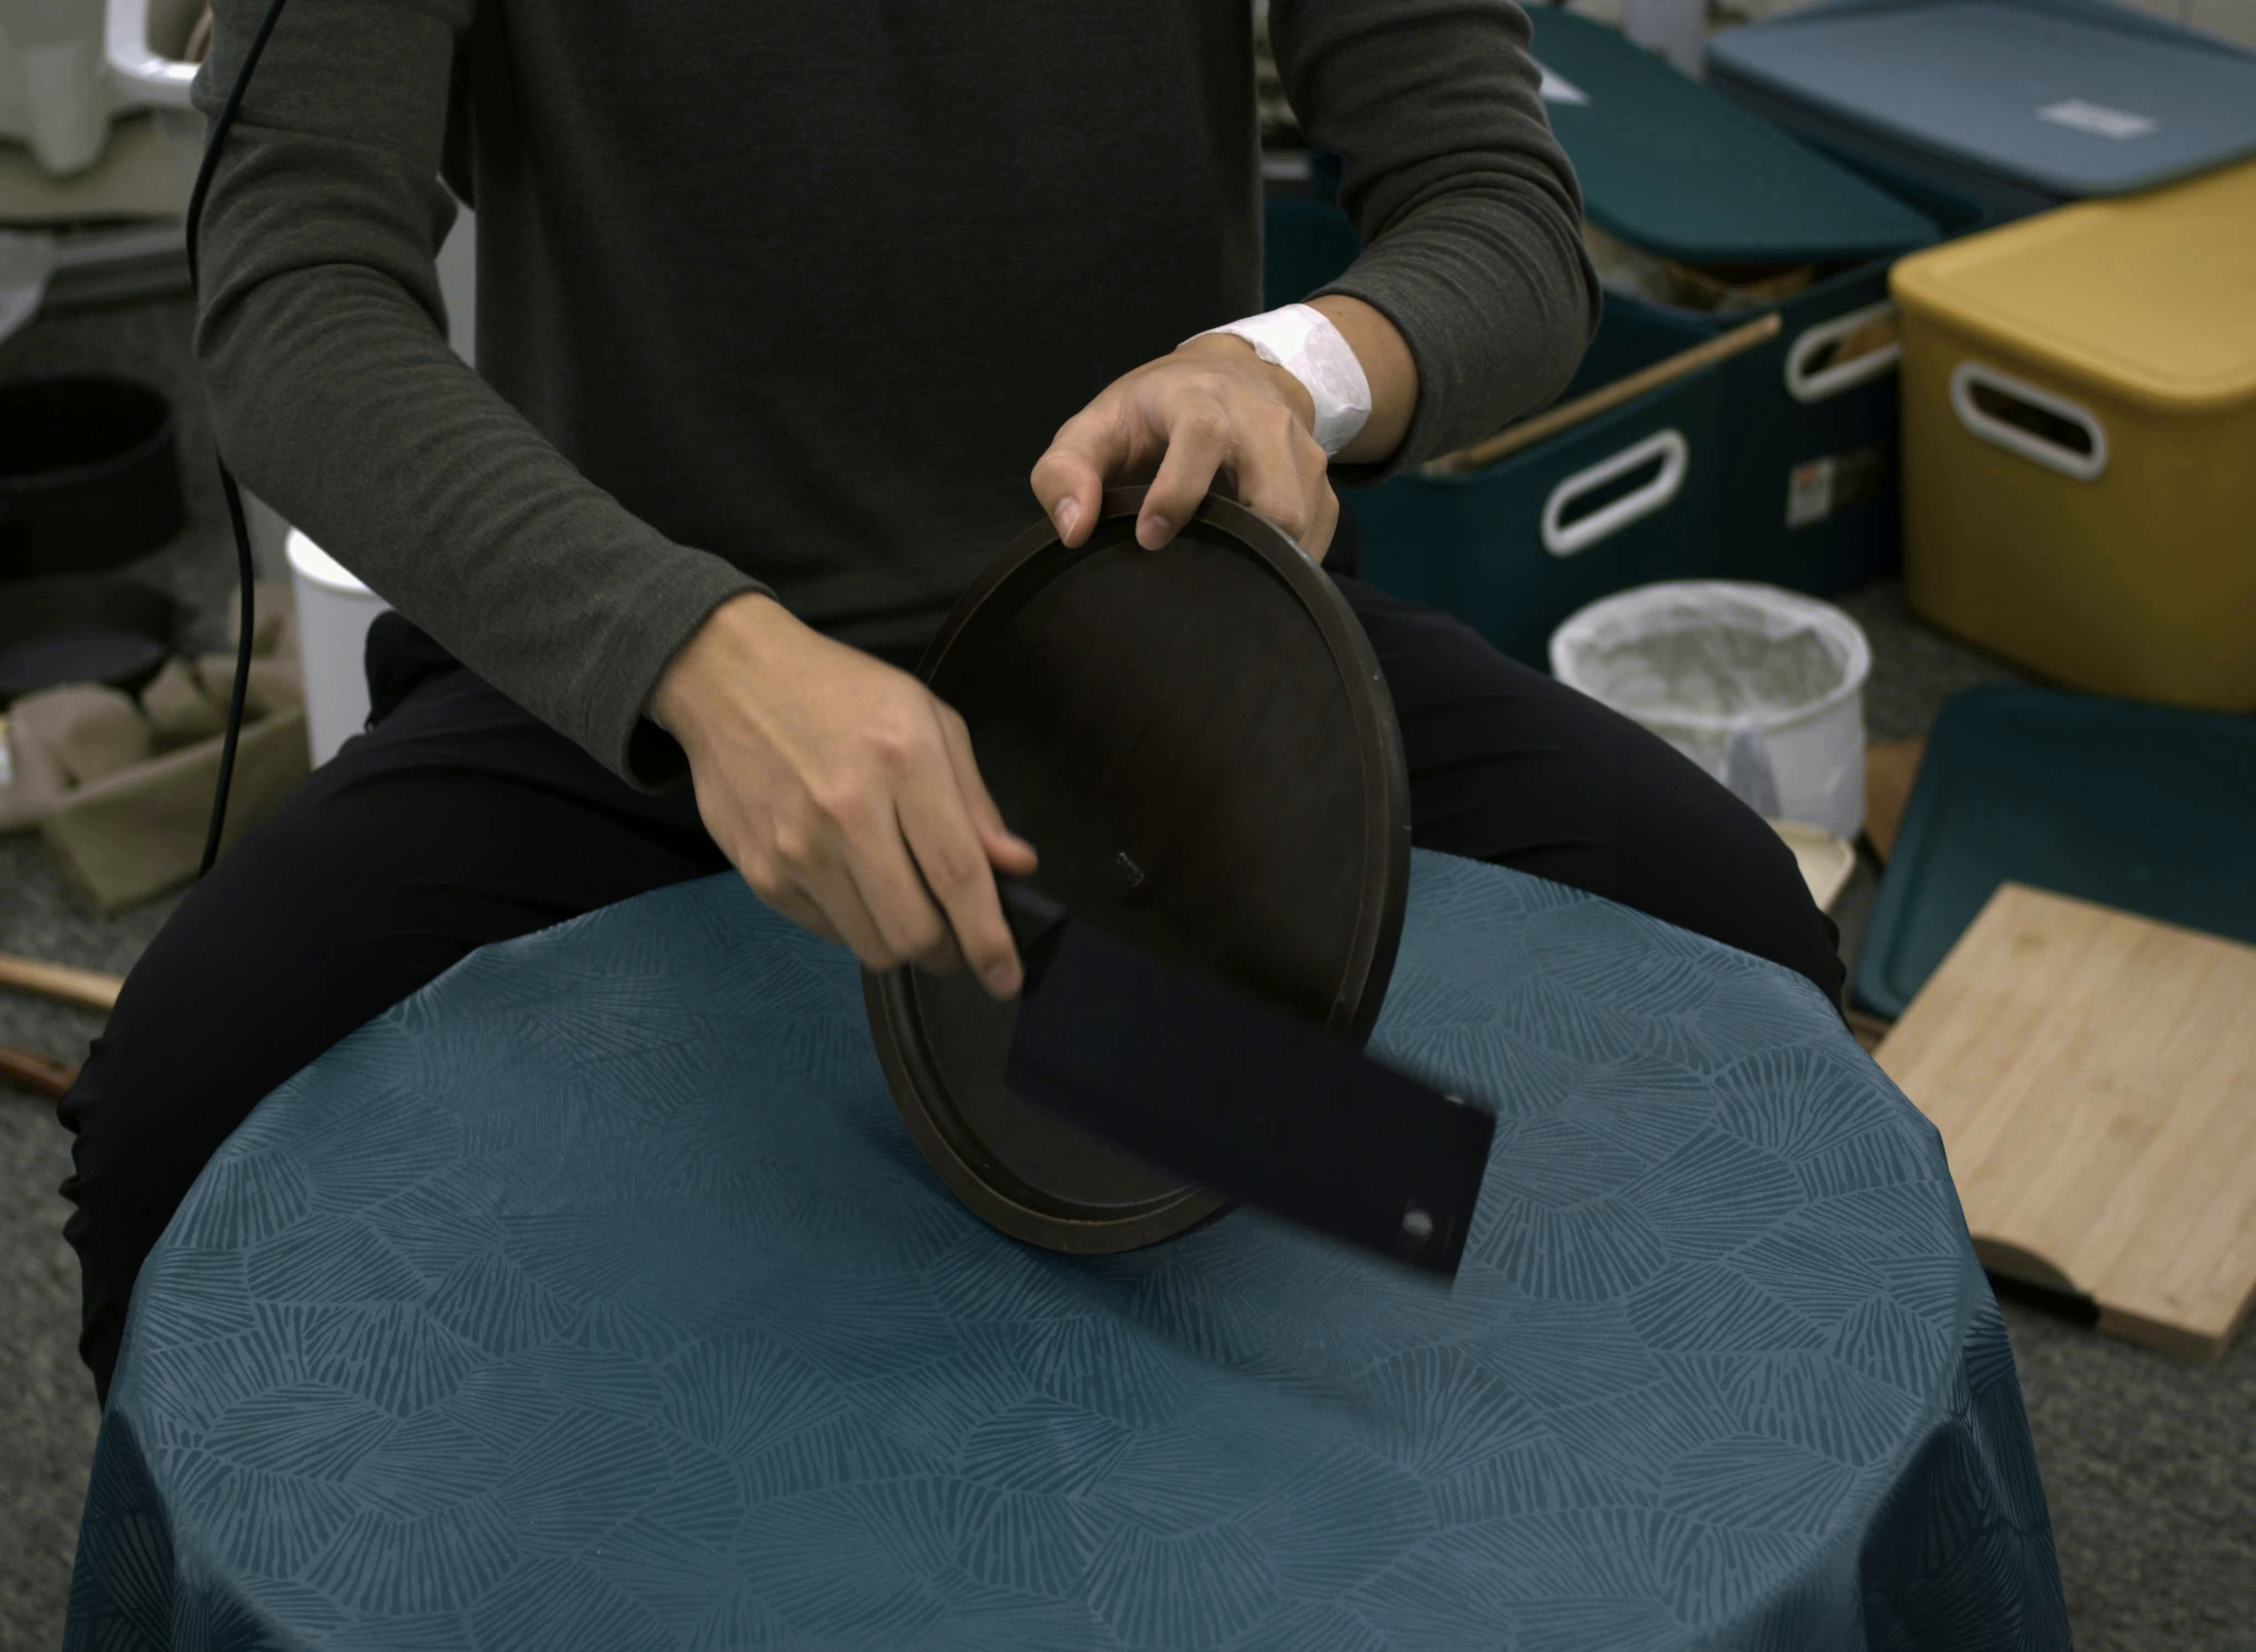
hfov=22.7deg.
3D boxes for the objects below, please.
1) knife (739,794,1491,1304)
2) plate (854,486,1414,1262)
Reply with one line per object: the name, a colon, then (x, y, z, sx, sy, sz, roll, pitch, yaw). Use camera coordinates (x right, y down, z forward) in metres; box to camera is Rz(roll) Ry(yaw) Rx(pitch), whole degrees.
knife: (-0.010, 0.064, 1.769, 0.302, 0.080, 0.021, 29, 18, 32)
plate: (0.000, 0.015, 1.833, 0.029, 0.254, 0.255, 10, 13, -43)
